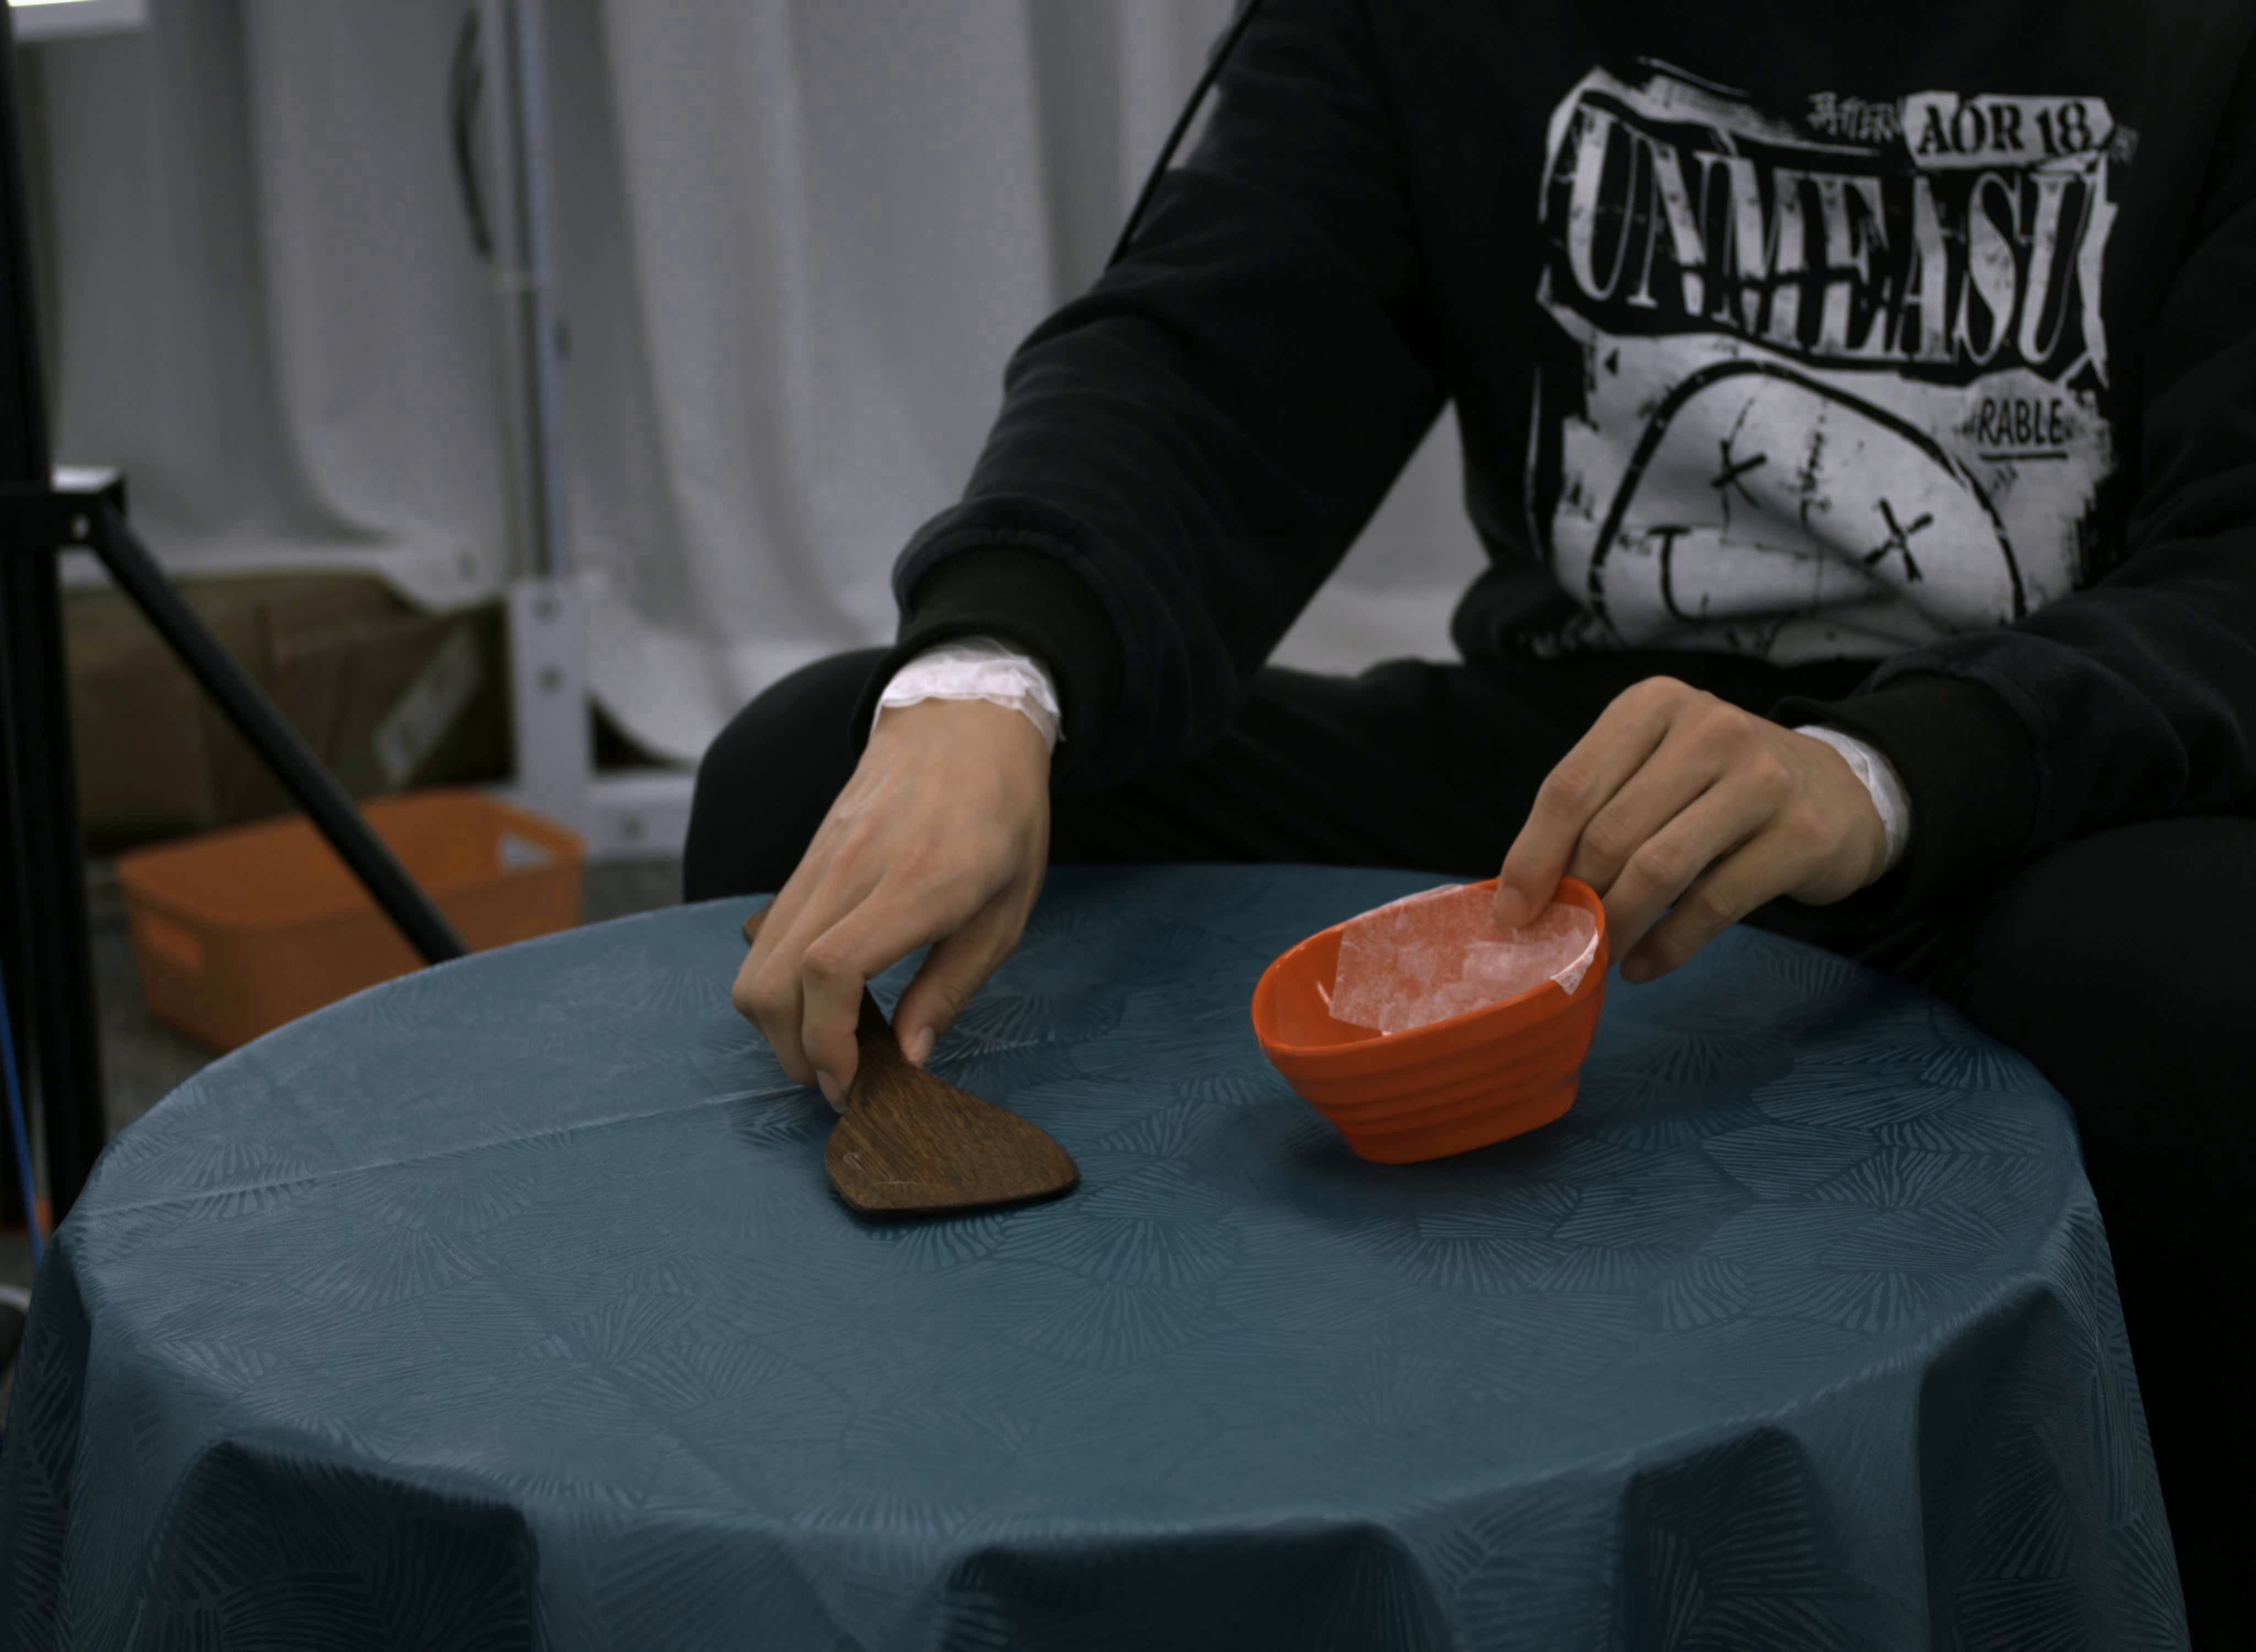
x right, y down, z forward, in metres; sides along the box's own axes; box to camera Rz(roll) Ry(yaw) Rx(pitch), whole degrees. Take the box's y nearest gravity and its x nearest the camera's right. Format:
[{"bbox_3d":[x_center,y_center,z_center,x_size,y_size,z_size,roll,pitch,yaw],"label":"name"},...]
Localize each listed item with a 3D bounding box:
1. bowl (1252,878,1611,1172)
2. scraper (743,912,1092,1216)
[{"bbox_3d":[0.097,0.063,1.583,0.119,0.051,0.119,-19,17,4],"label":"bowl"},{"bbox_3d":[-0.077,0.072,1.637,0.074,0.011,0.215,-5,25,-19],"label":"scraper"}]
